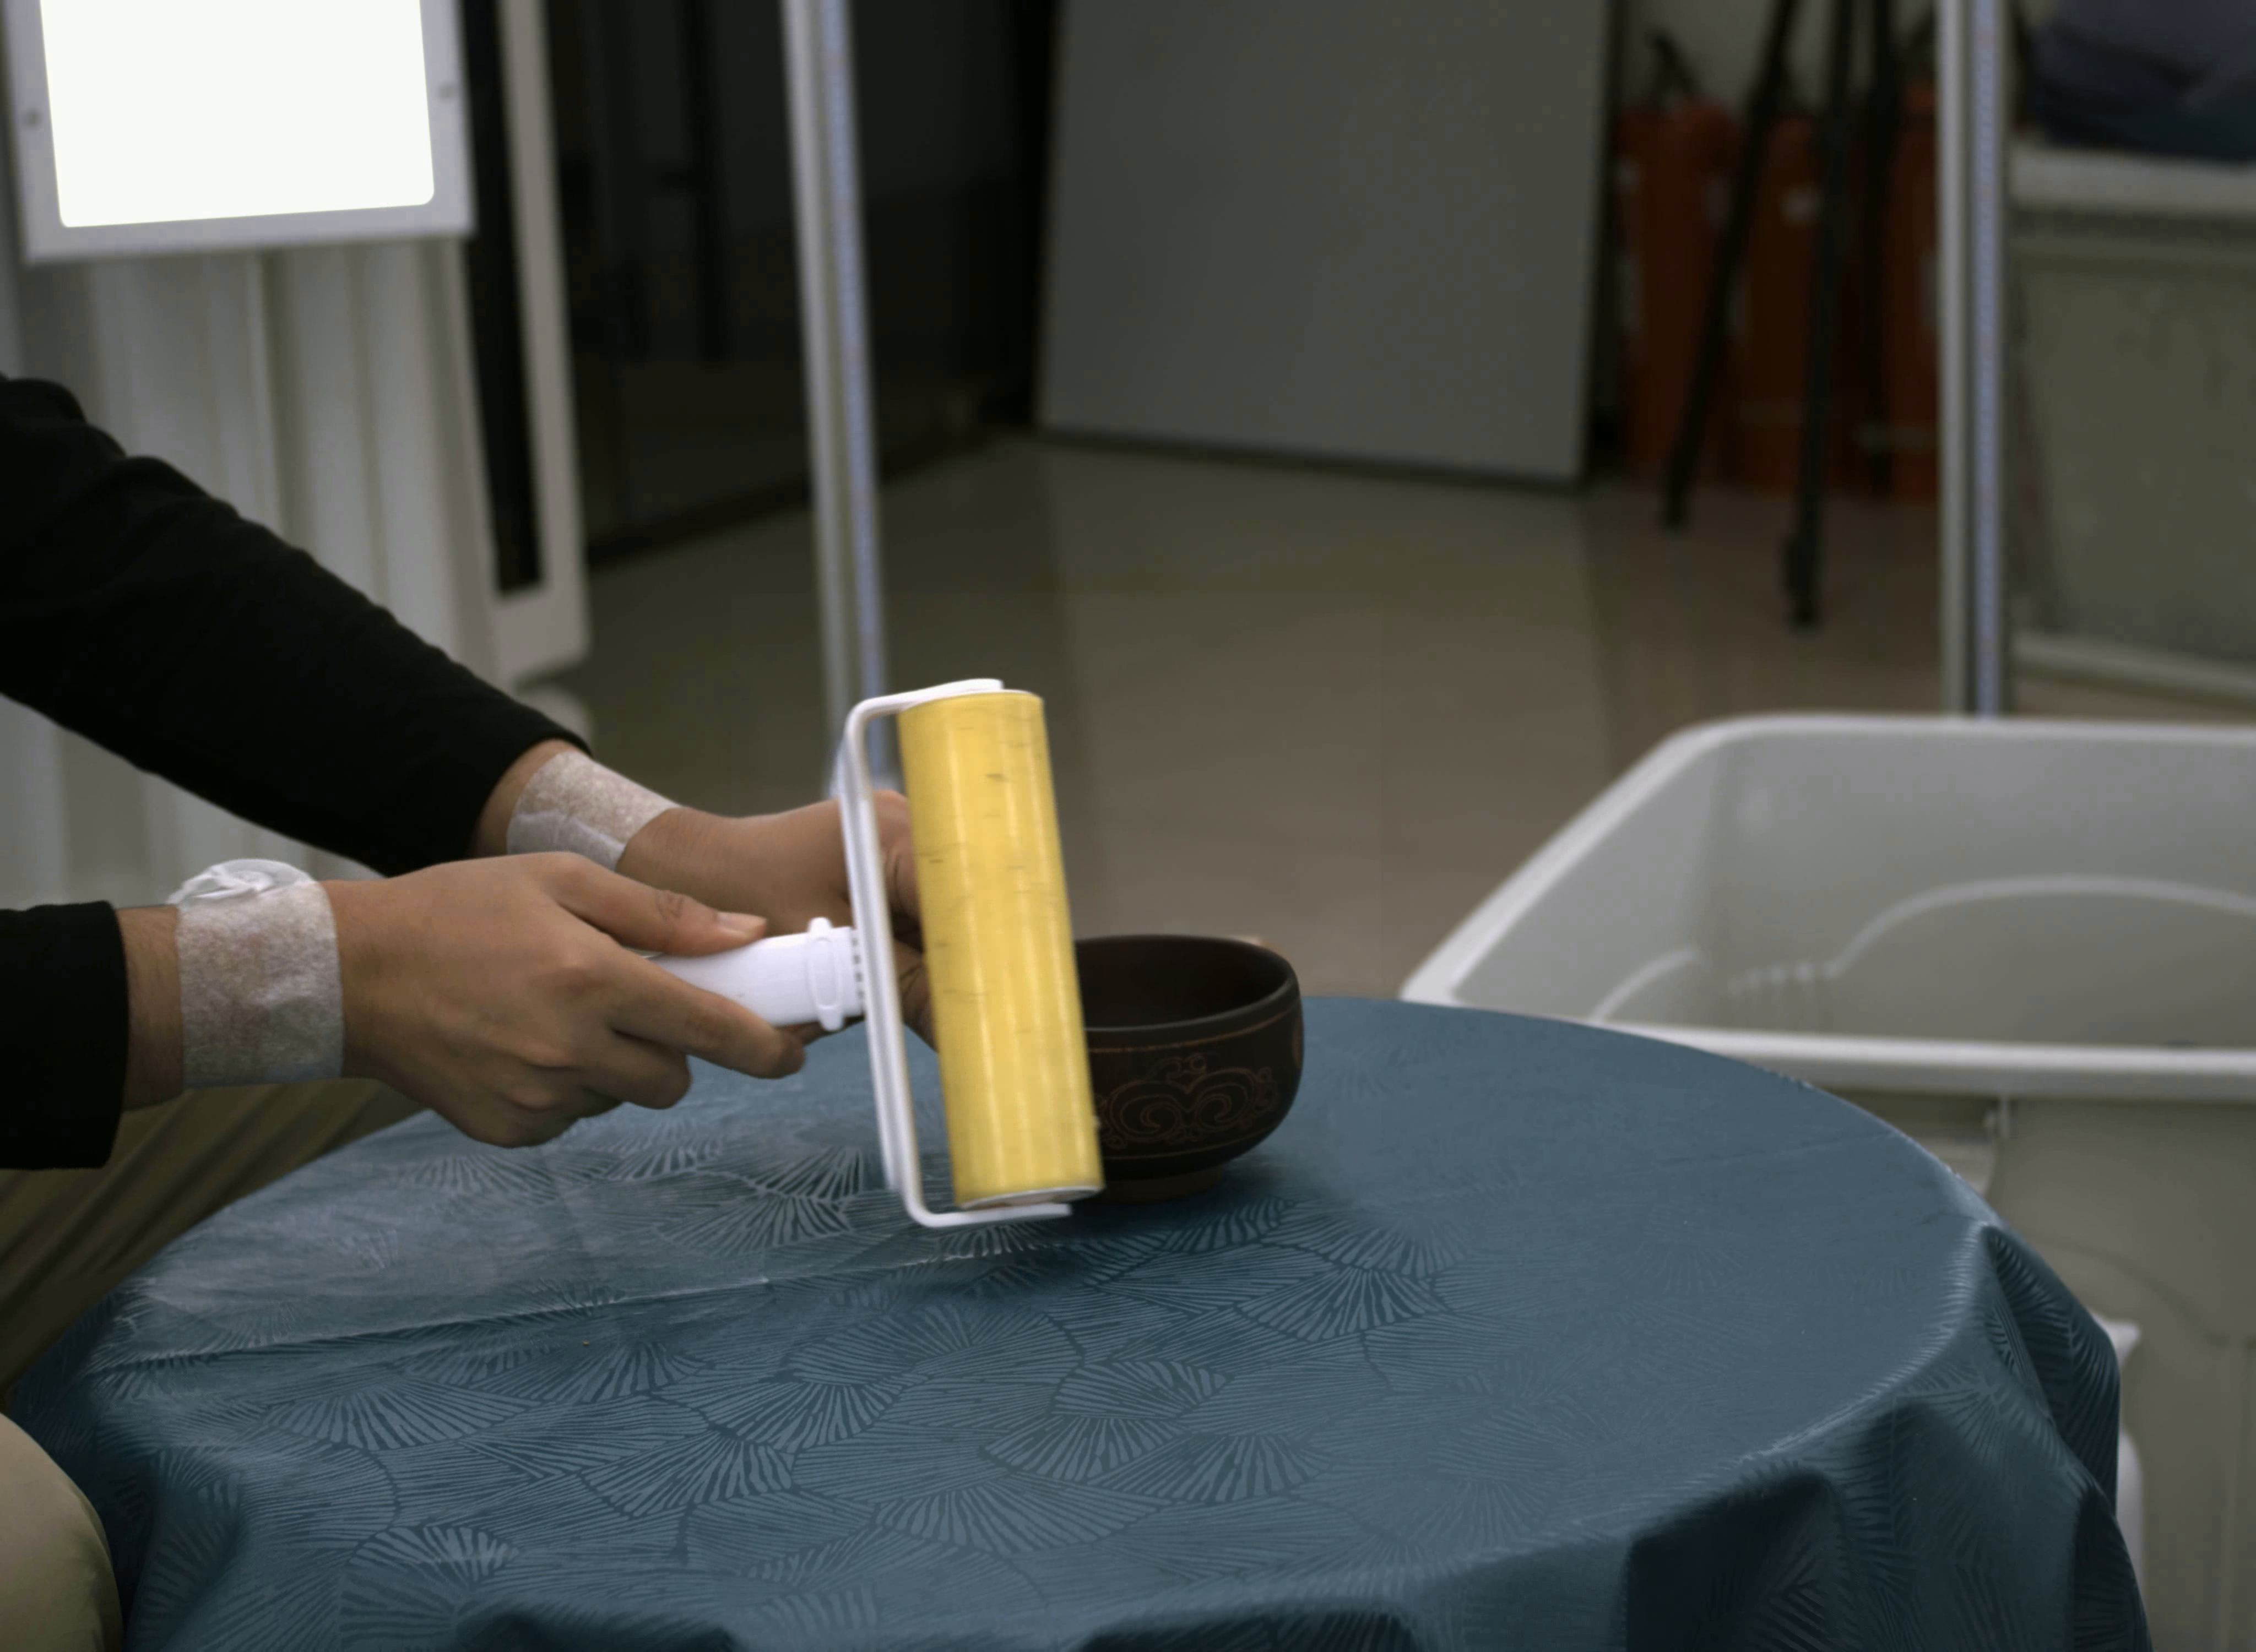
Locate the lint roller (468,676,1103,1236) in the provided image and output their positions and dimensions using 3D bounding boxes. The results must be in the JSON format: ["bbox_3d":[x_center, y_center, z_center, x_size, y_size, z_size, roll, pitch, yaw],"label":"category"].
[{"bbox_3d":[-0.113,0.051,1.703,0.189,0.176,0.051,-8,-10,-6],"label":"lint roller"}]

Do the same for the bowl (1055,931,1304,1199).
[{"bbox_3d":[0.001,0.082,1.773,0.116,0.070,0.118,-3,12,0],"label":"bowl"}]
